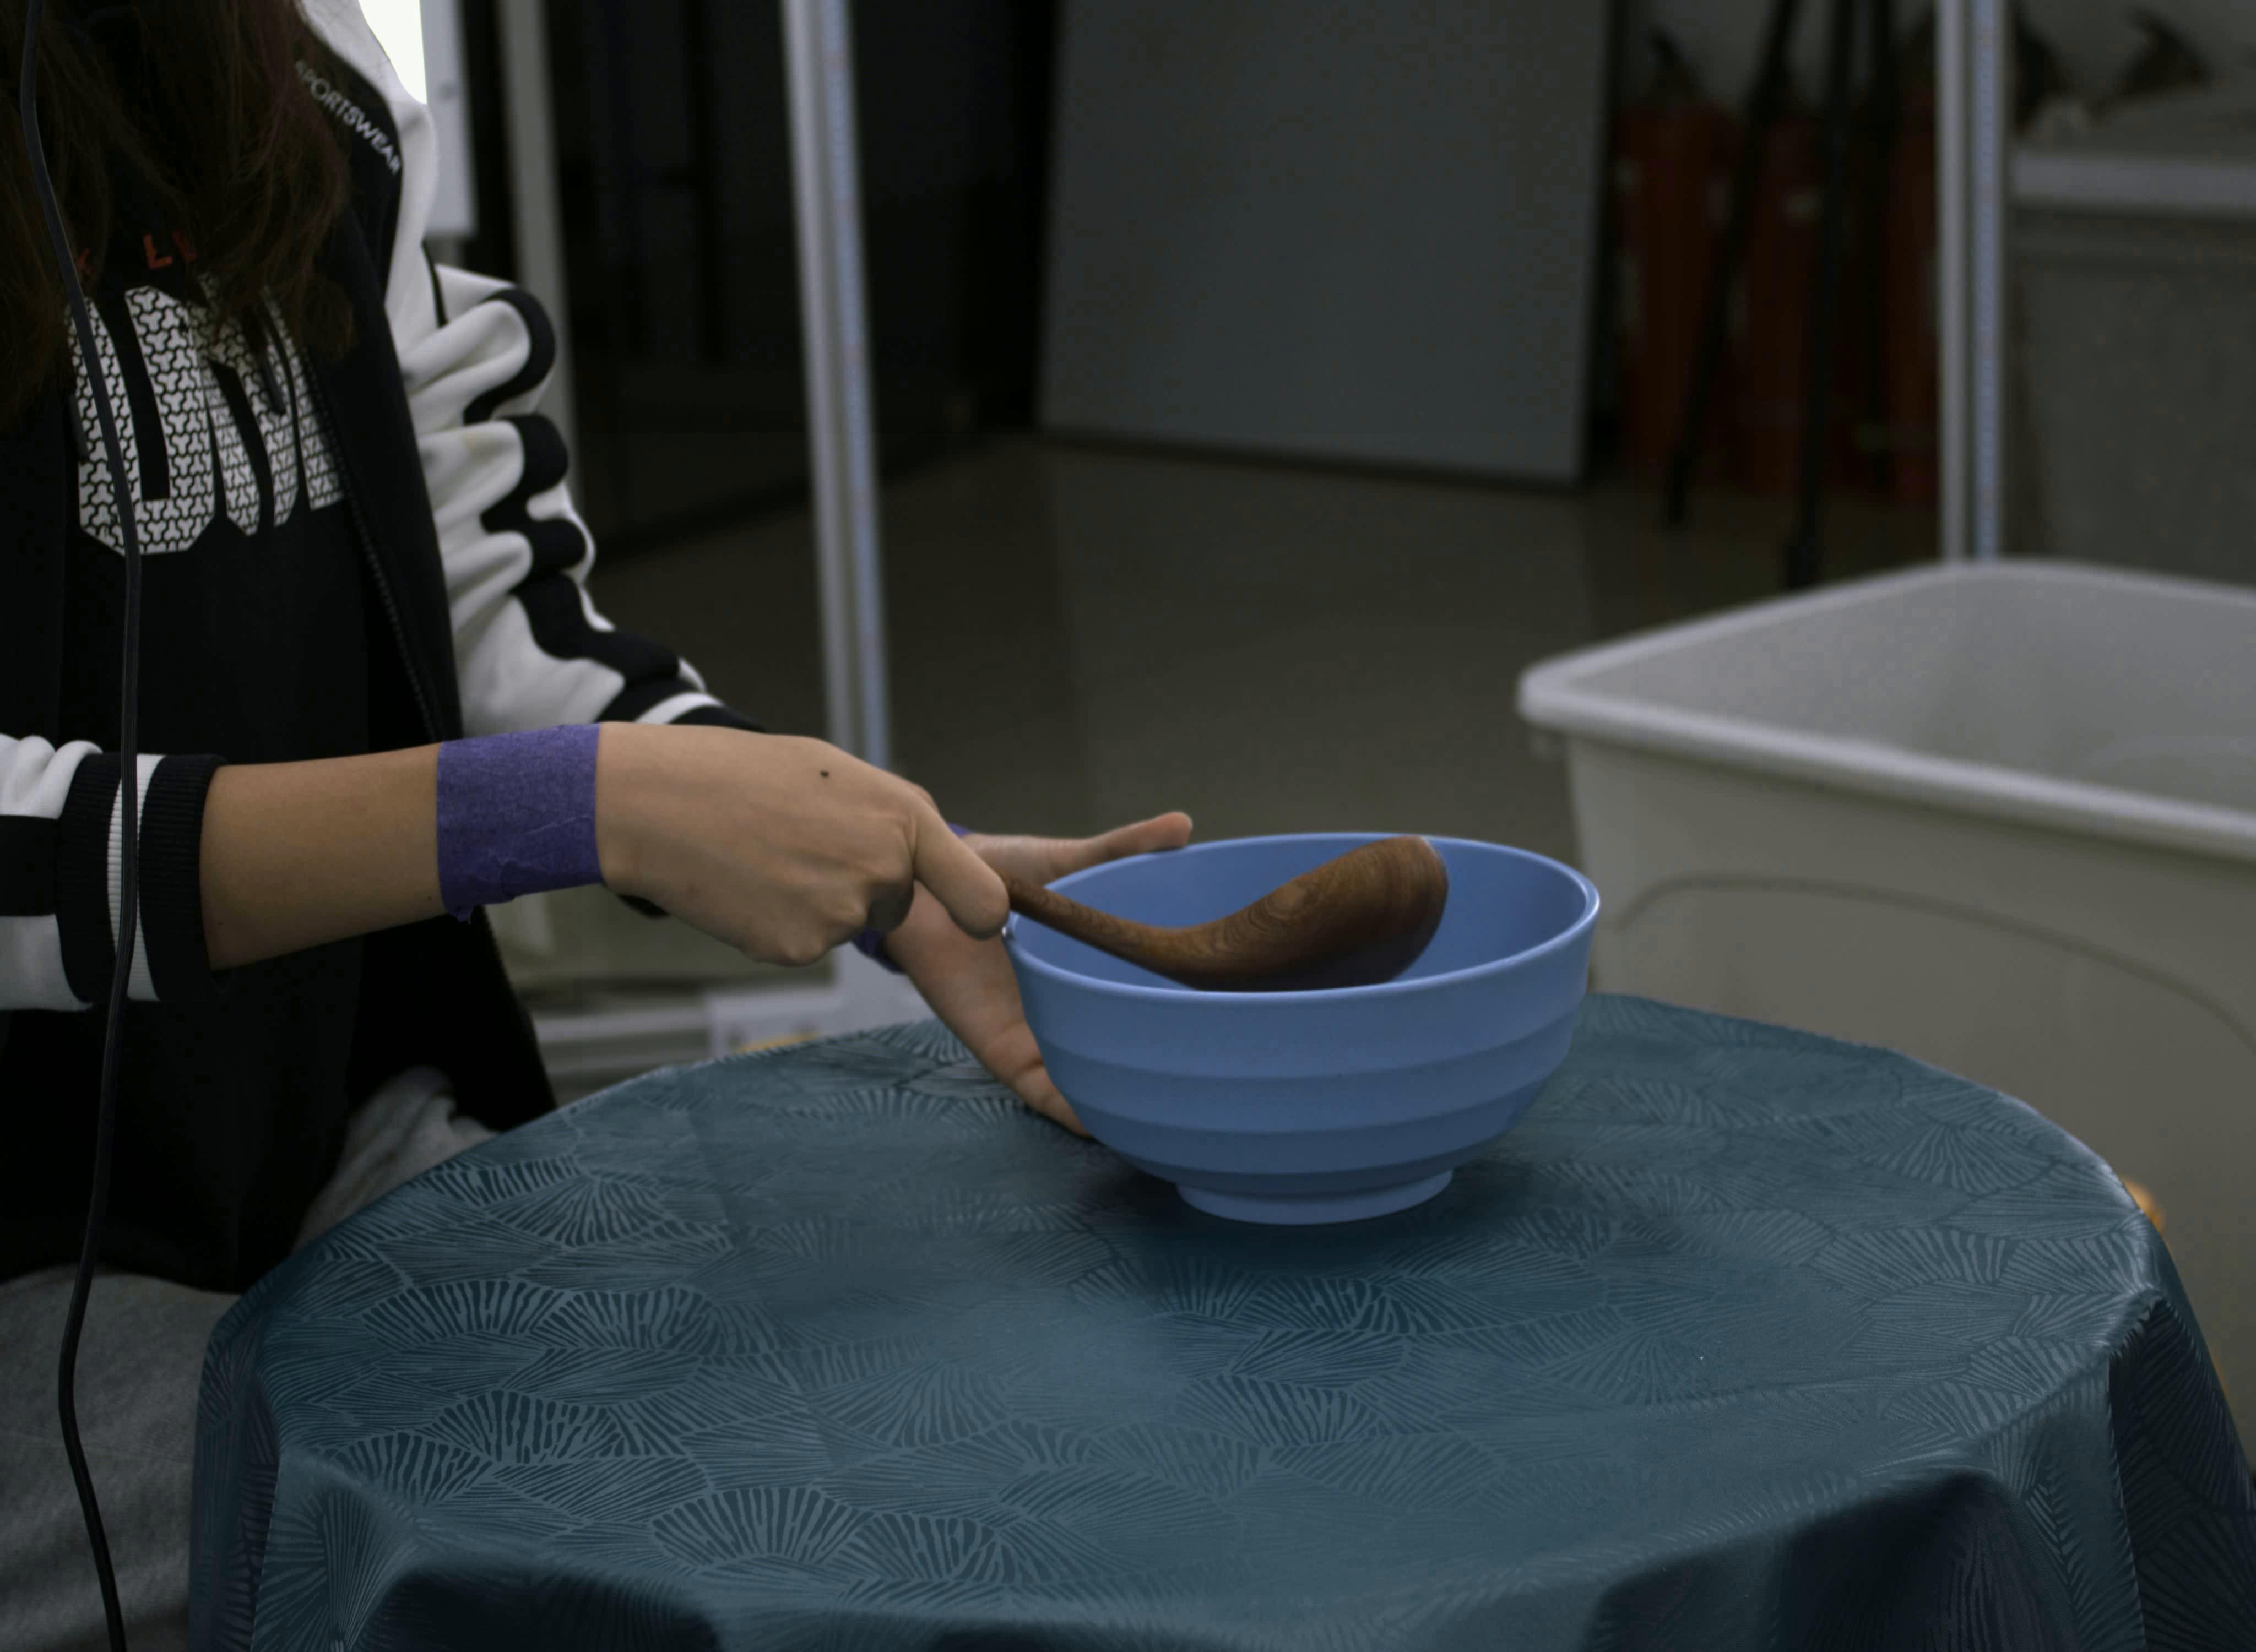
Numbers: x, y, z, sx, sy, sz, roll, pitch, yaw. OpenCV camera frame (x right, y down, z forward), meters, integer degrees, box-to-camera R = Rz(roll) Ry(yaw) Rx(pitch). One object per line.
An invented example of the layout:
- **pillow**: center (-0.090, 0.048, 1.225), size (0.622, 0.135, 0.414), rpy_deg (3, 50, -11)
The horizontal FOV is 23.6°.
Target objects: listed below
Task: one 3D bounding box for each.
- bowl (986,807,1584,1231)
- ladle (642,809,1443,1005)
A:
- **bowl**: center (0.053, 0.070, 1.762), size (0.194, 0.096, 0.197), rpy_deg (-4, 20, 0)
- **ladle**: center (-0.026, 0.012, 1.739), size (0.258, 0.076, 0.065), rpy_deg (12, 60, 11)
